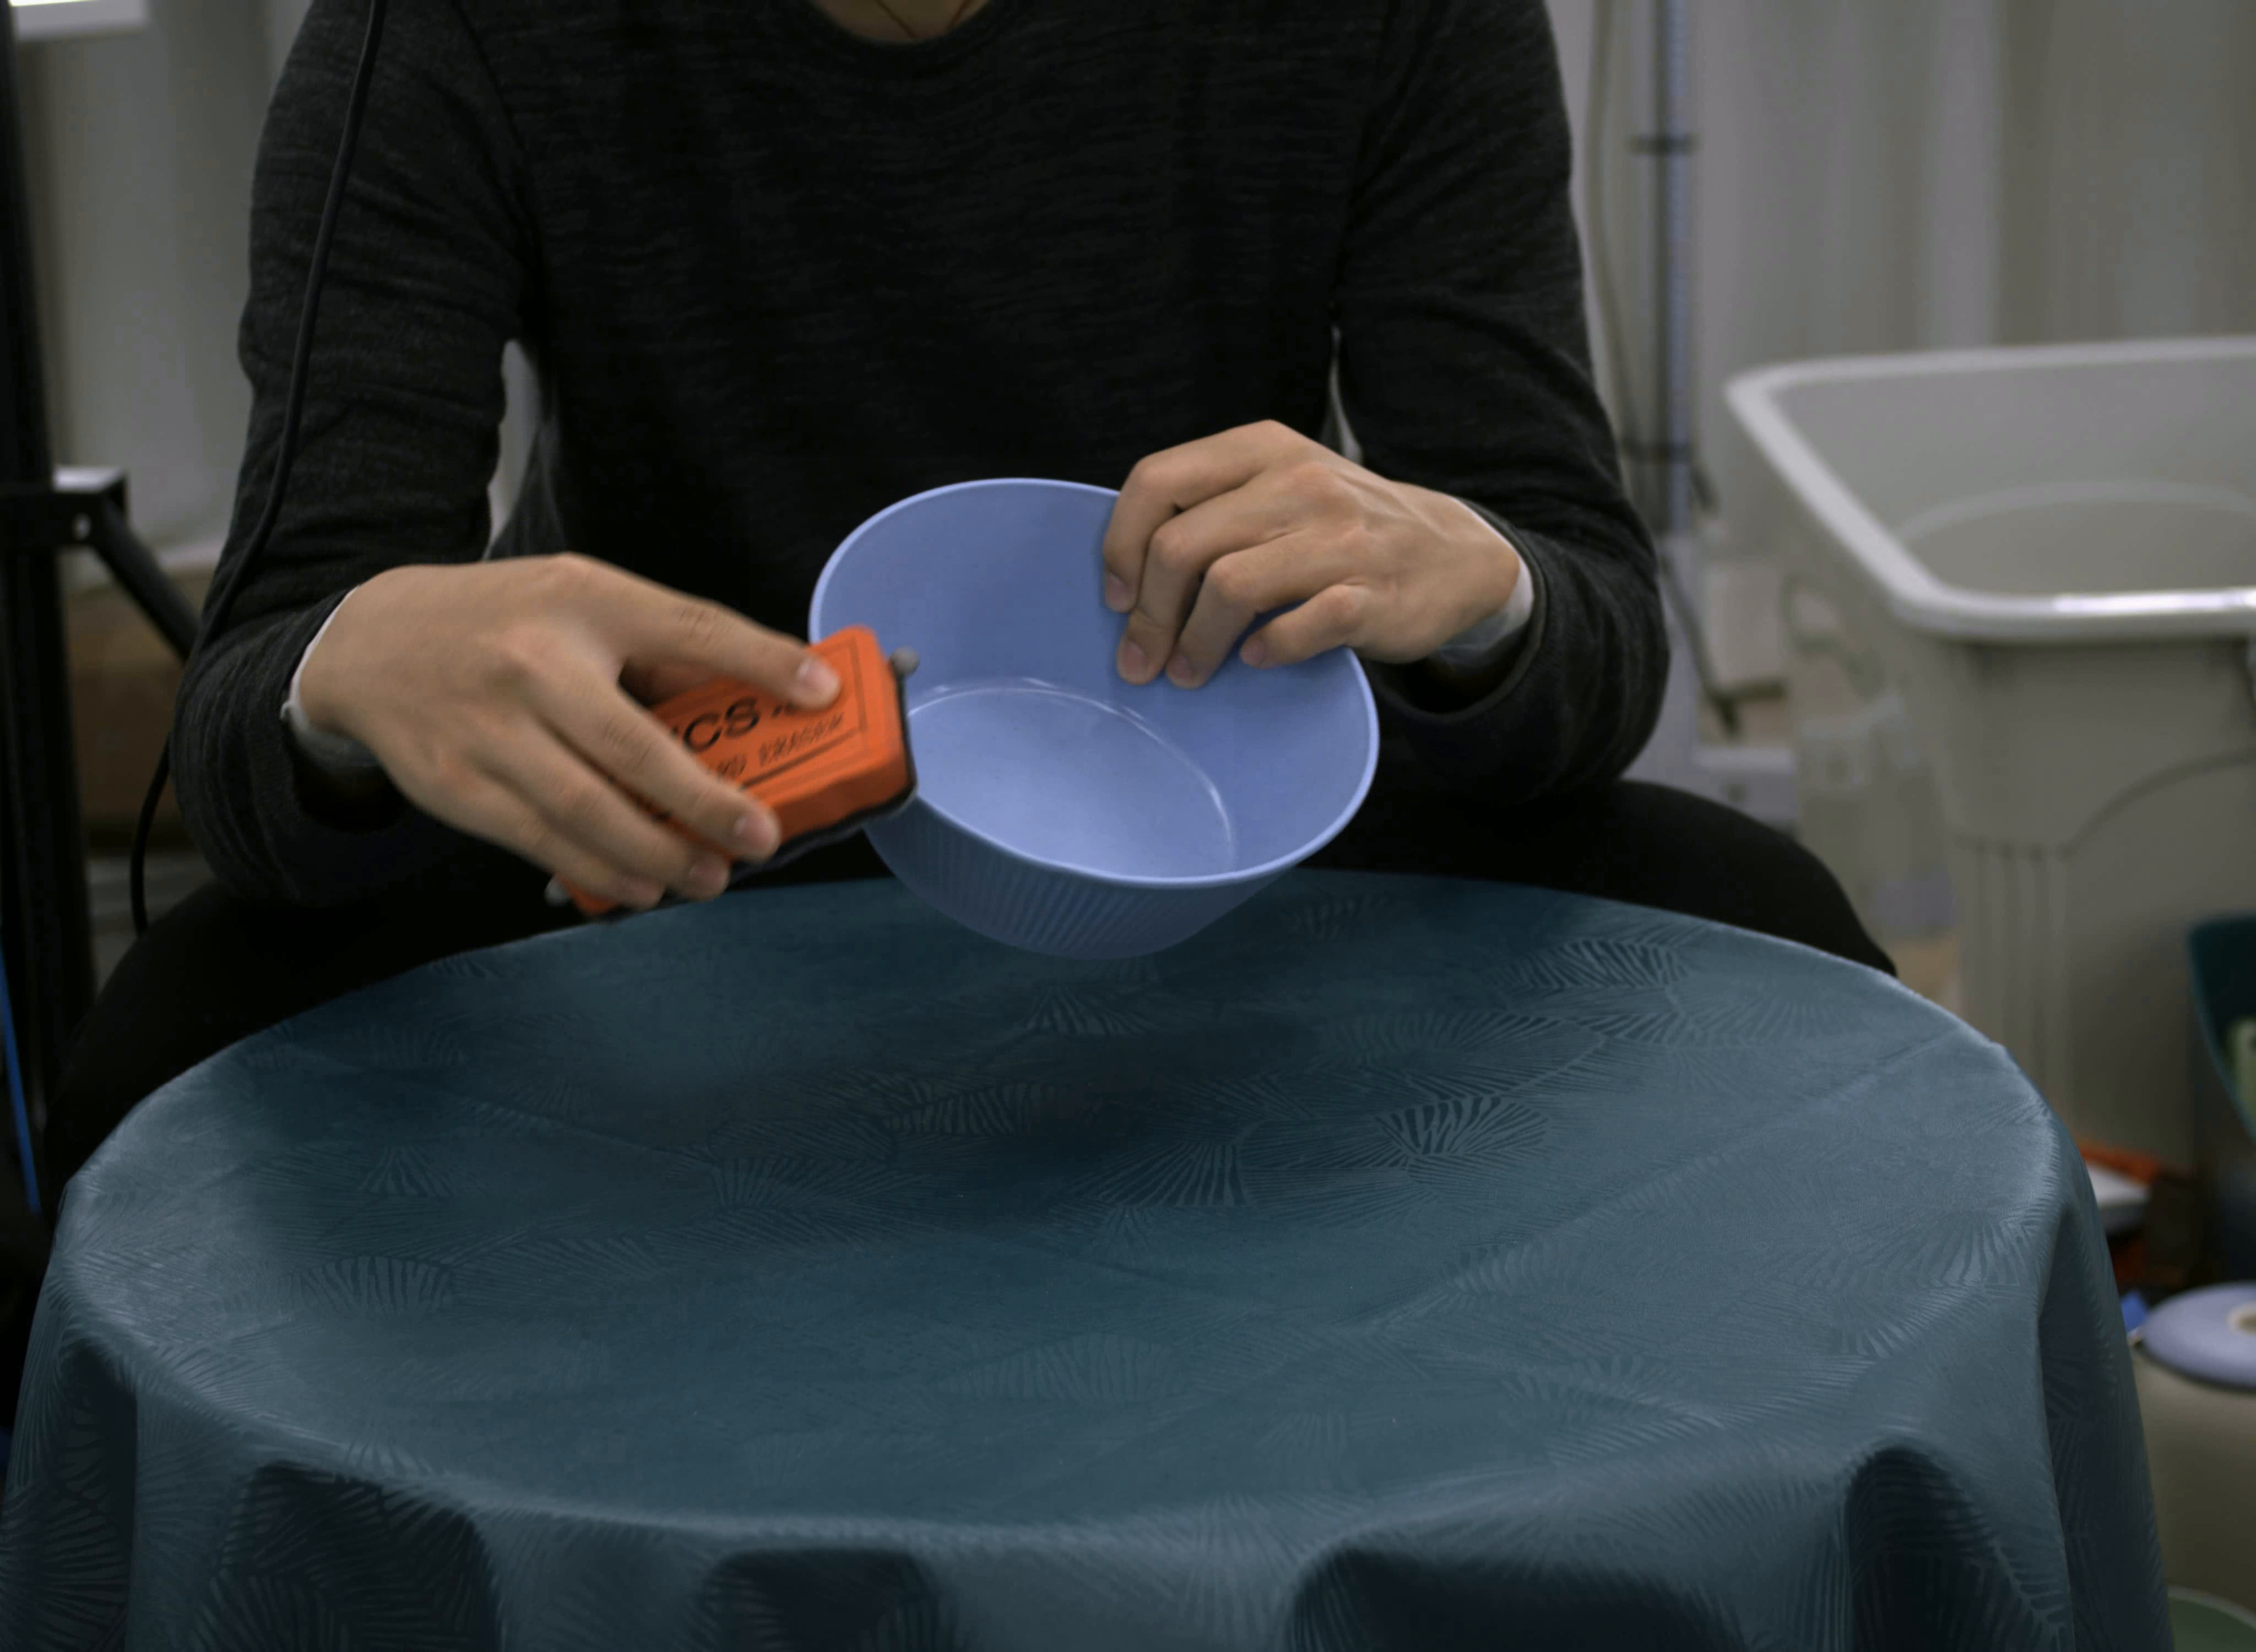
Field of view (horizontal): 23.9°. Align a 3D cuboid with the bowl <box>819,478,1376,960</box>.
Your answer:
[{"bbox_3d":[-0.017,-0.023,1.616,0.174,0.070,0.178,9,42,-10],"label":"bowl"}]

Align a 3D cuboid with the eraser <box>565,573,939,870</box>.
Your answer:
[{"bbox_3d":[-0.110,-0.030,1.549,0.108,0.022,0.060,-23,46,12],"label":"eraser"}]
